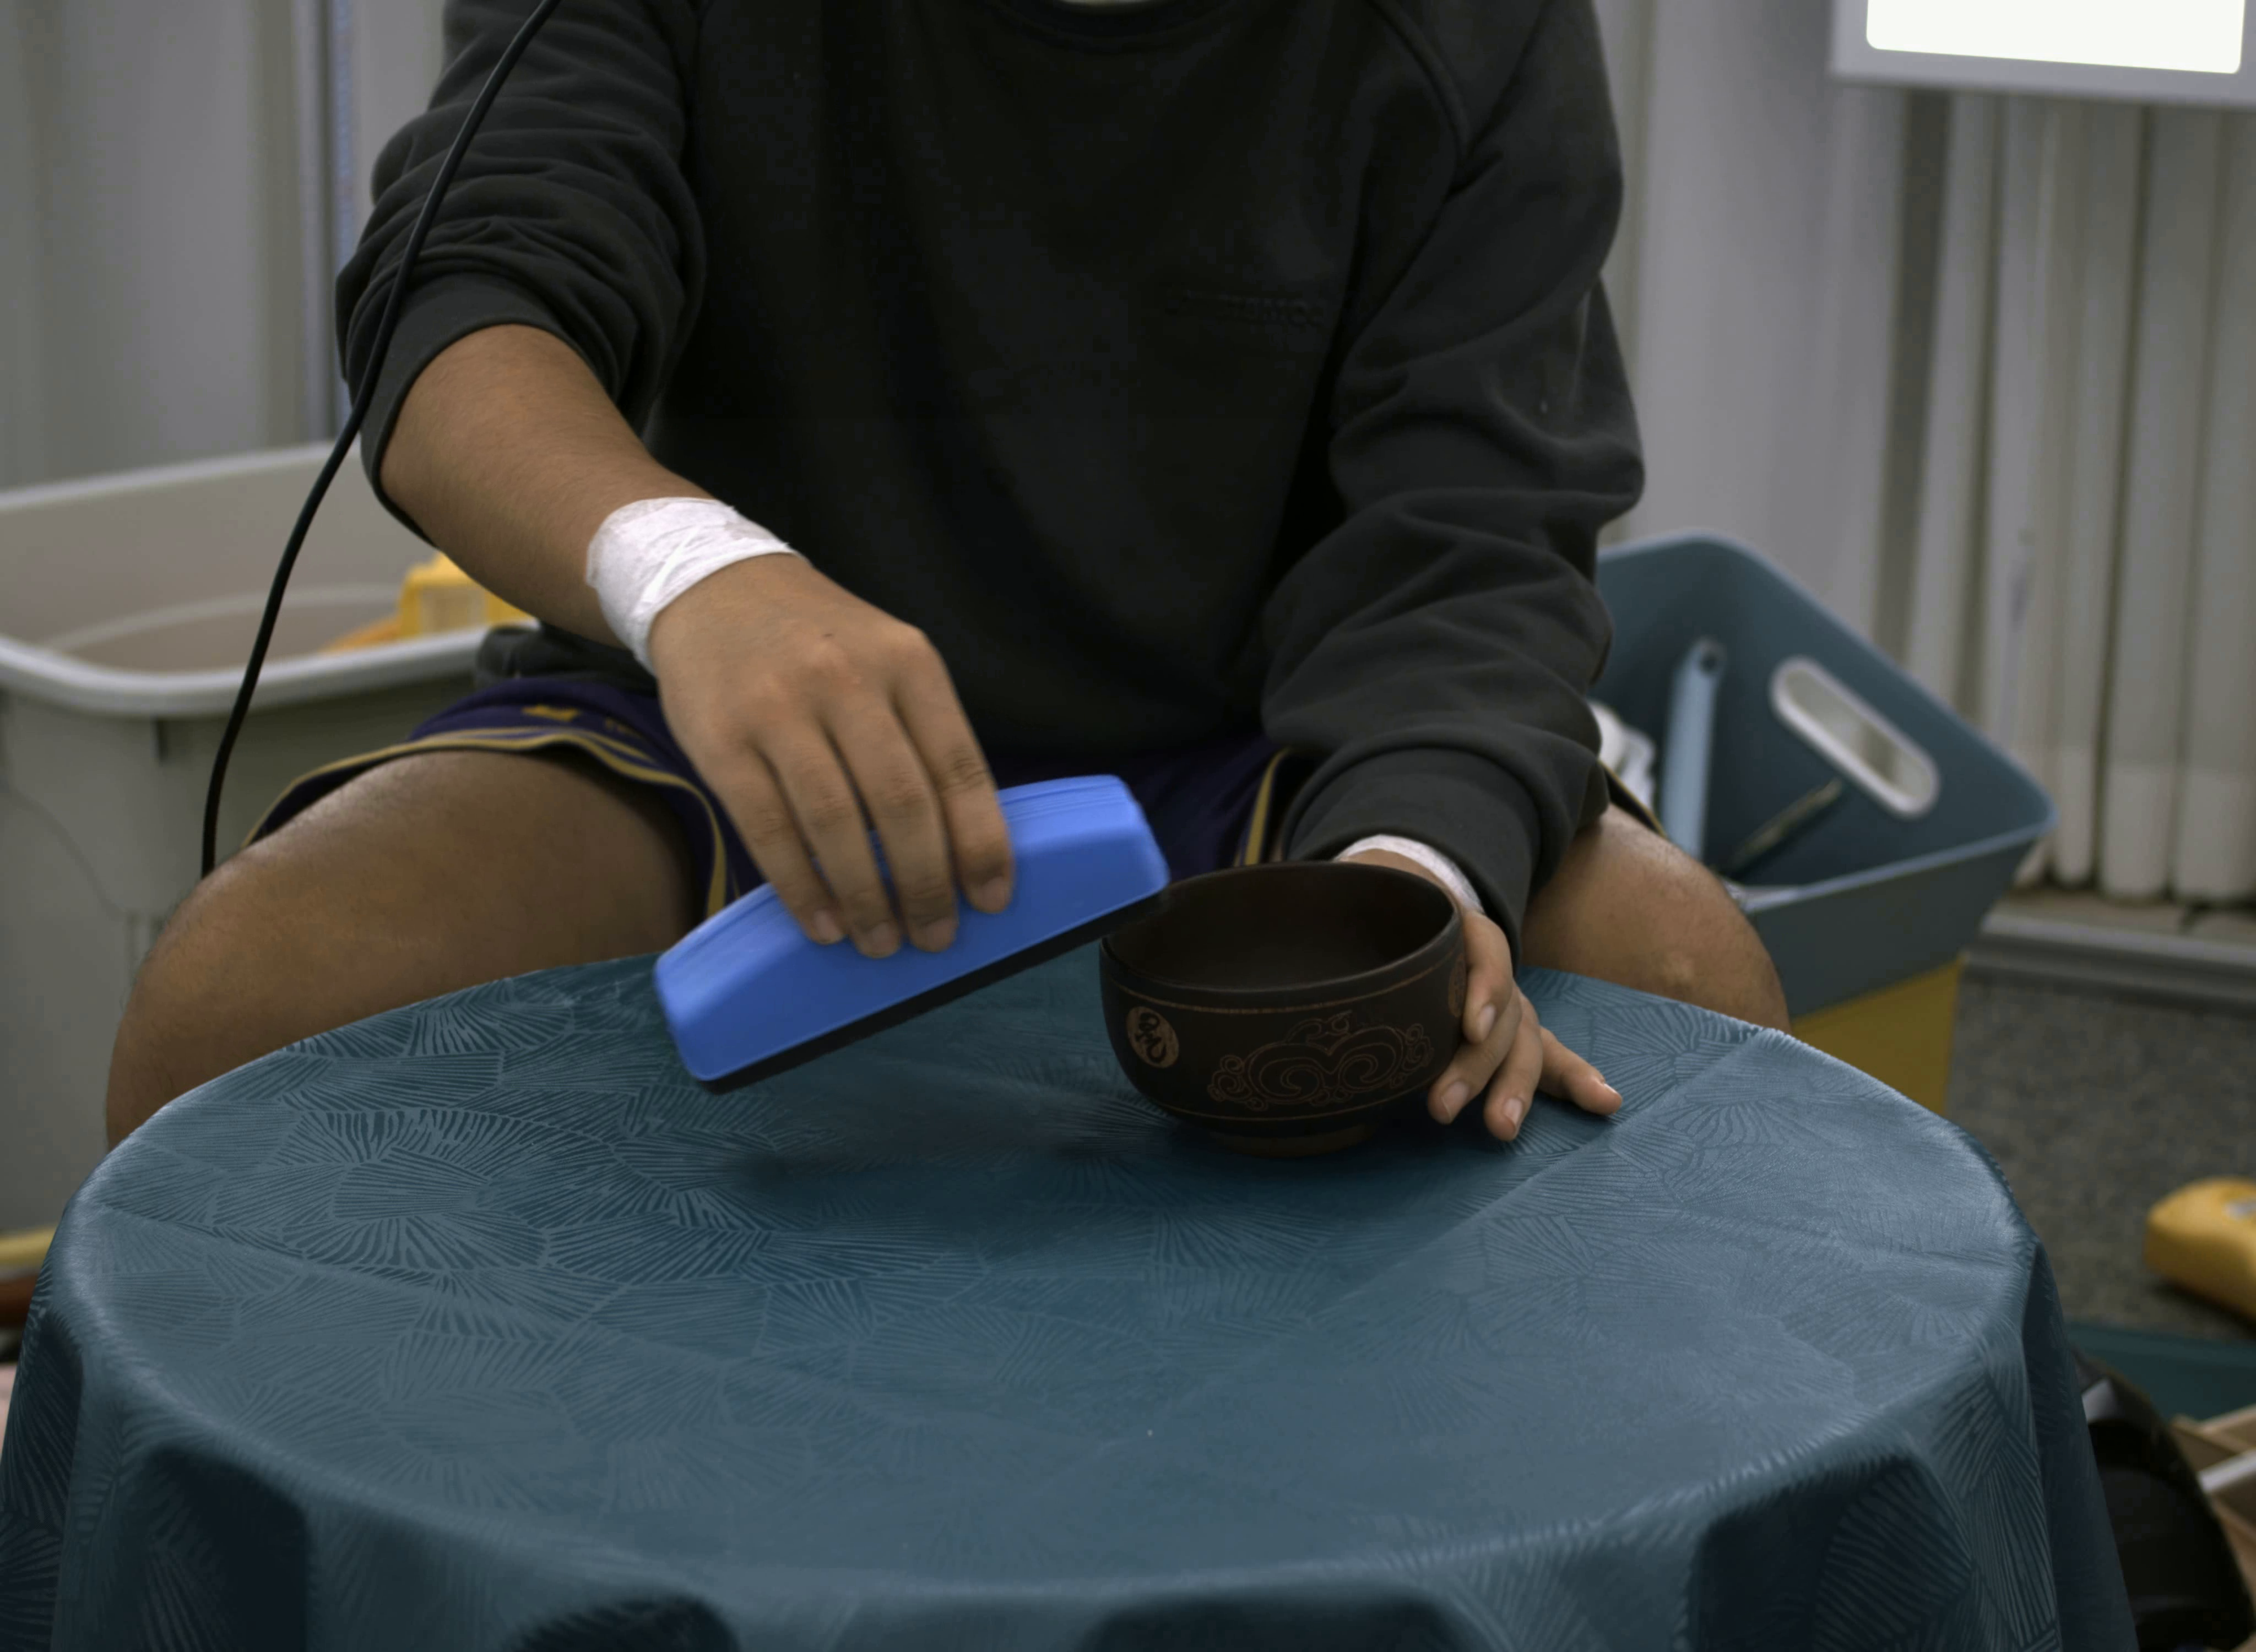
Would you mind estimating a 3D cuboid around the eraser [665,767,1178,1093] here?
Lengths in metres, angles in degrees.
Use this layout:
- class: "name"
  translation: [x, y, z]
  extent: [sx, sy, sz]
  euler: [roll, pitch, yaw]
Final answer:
- class: "eraser"
  translation: [-0.066, 0.027, 1.629]
  extent: [0.162, 0.048, 0.053]
  euler: [-23, 28, -6]

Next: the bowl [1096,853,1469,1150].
- class: "bowl"
  translation: [0.050, 0.060, 1.664]
  extent: [0.117, 0.070, 0.117]
  euler: [-5, 19, 2]
